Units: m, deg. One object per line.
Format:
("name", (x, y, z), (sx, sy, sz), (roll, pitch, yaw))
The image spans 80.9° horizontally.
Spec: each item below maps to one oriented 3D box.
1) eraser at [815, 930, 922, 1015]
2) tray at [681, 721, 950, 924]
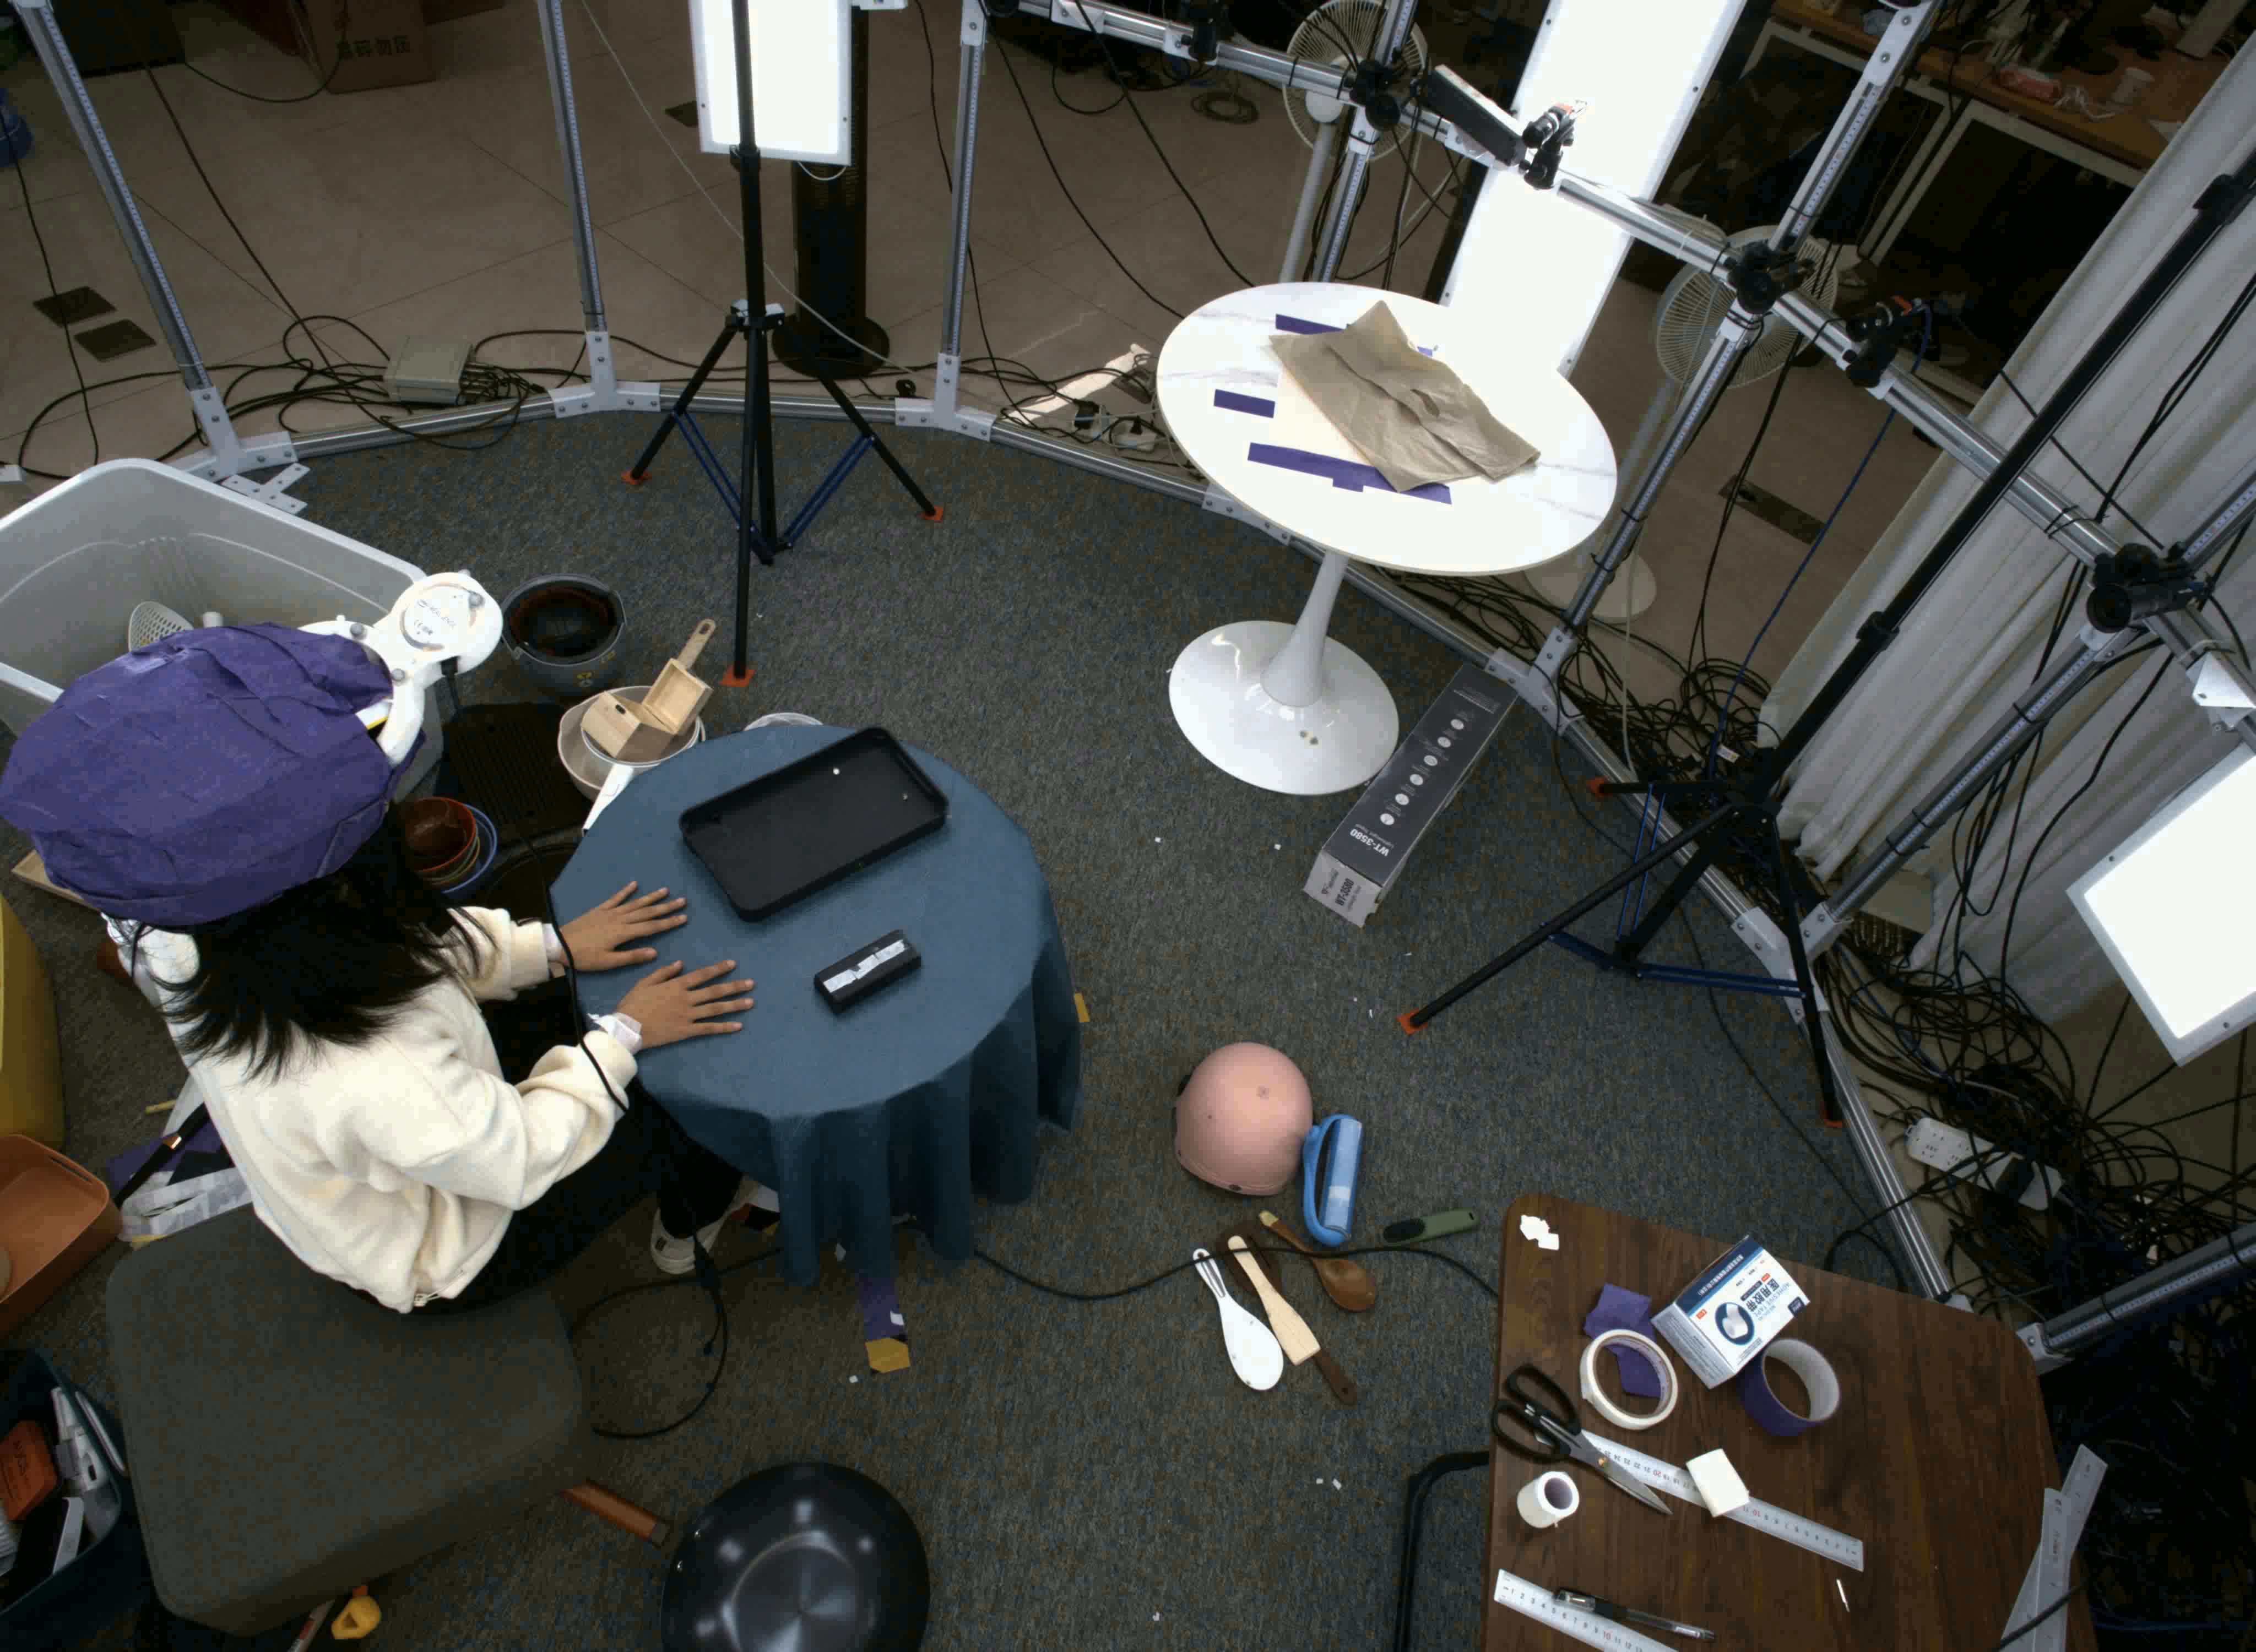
("eraser", (-0.318, 0.176, 1.597), (0.126, 0.031, 0.052), (-31, 61, -31))
("tray", (-0.407, -0.012, 1.708), (0.319, 0.038, 0.180), (-32, 66, -31))
